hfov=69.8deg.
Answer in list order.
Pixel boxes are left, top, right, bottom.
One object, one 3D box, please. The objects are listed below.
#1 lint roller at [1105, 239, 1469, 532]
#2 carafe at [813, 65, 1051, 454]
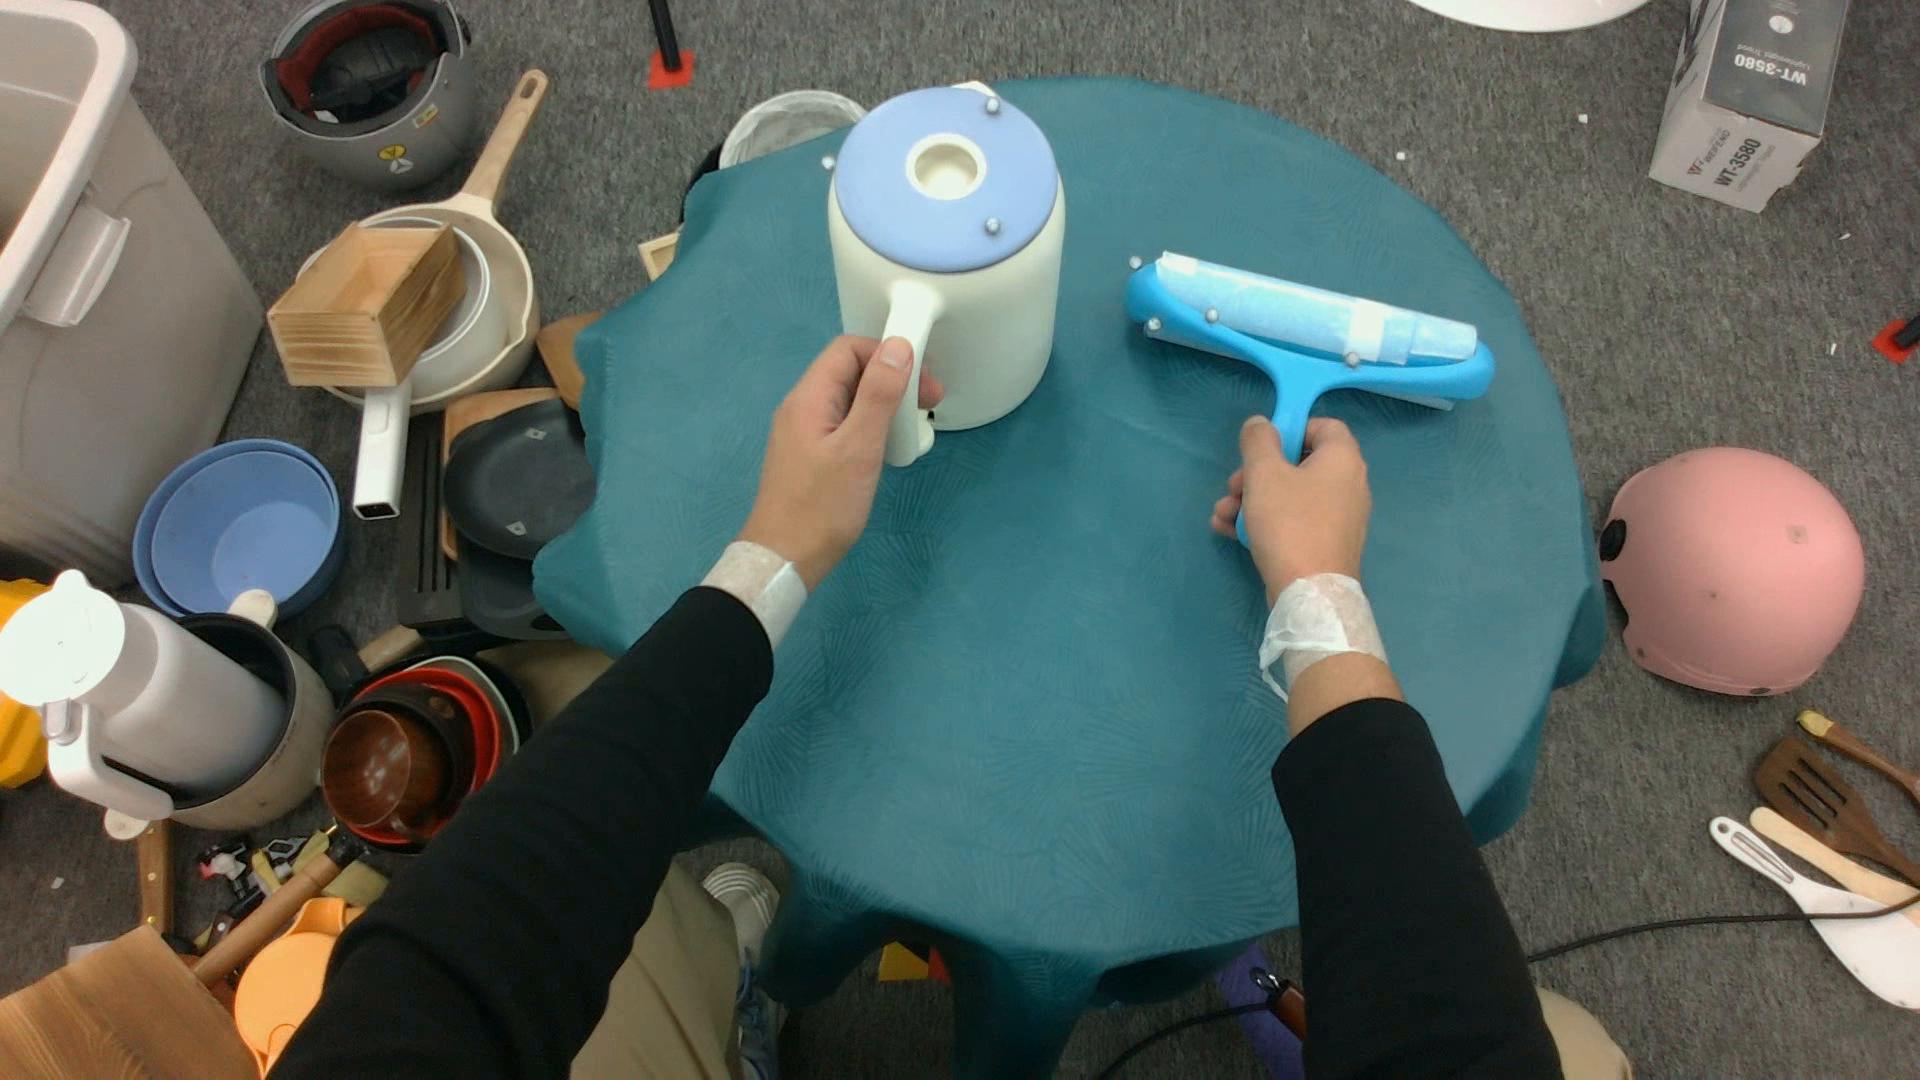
[{"bbox_3d":[0.188,-0.091,0.823,0.229,0.067,0.181,15,54,2],"label":"lint roller"},{"bbox_3d":[-0.021,-0.145,0.791,0.132,0.182,0.192,11,69,5],"label":"carafe"}]
